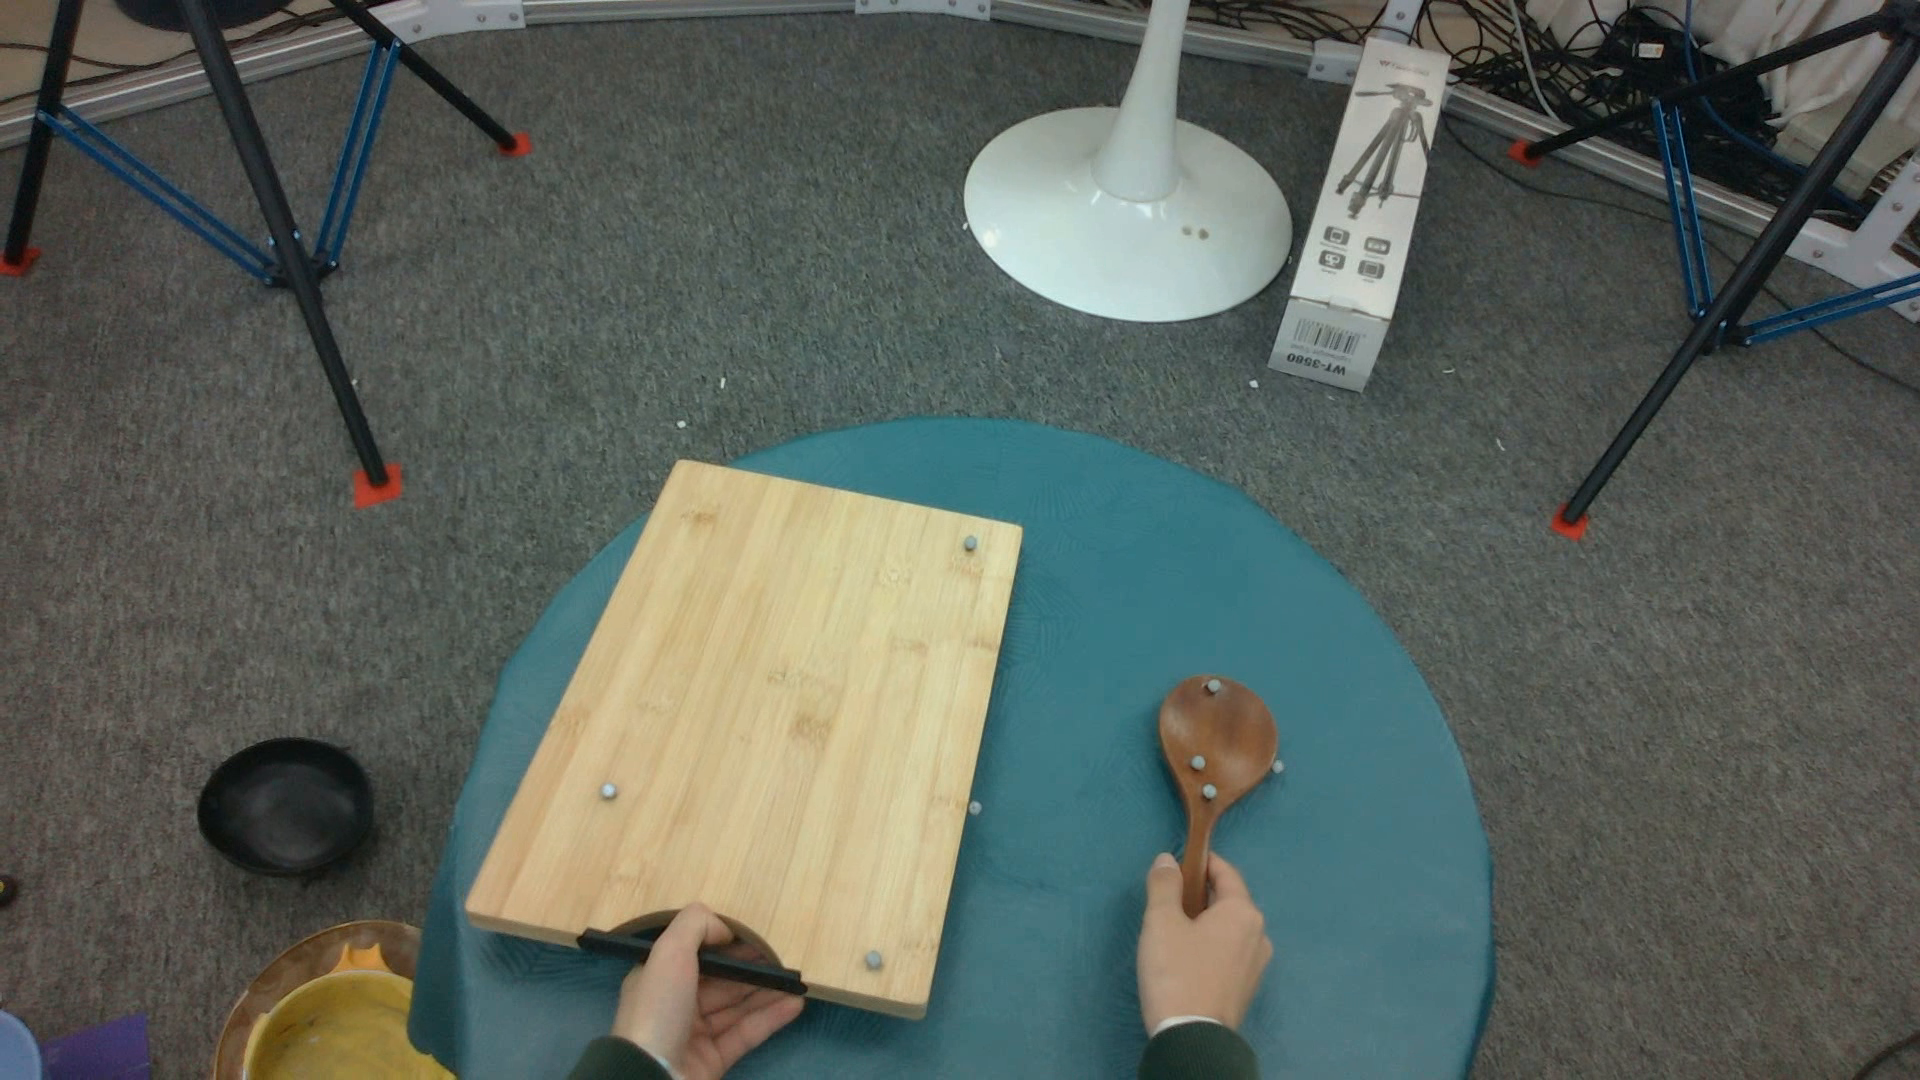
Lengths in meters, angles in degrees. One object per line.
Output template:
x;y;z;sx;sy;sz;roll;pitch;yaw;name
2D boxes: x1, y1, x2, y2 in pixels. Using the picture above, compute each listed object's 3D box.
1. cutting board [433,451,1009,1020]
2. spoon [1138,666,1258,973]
-0.116;0.092;0.807;0.251;0.023;0.350;10;46;2;cutting board
0.129;0.154;0.791;0.075;0.017;0.217;19;42;2;spoon
